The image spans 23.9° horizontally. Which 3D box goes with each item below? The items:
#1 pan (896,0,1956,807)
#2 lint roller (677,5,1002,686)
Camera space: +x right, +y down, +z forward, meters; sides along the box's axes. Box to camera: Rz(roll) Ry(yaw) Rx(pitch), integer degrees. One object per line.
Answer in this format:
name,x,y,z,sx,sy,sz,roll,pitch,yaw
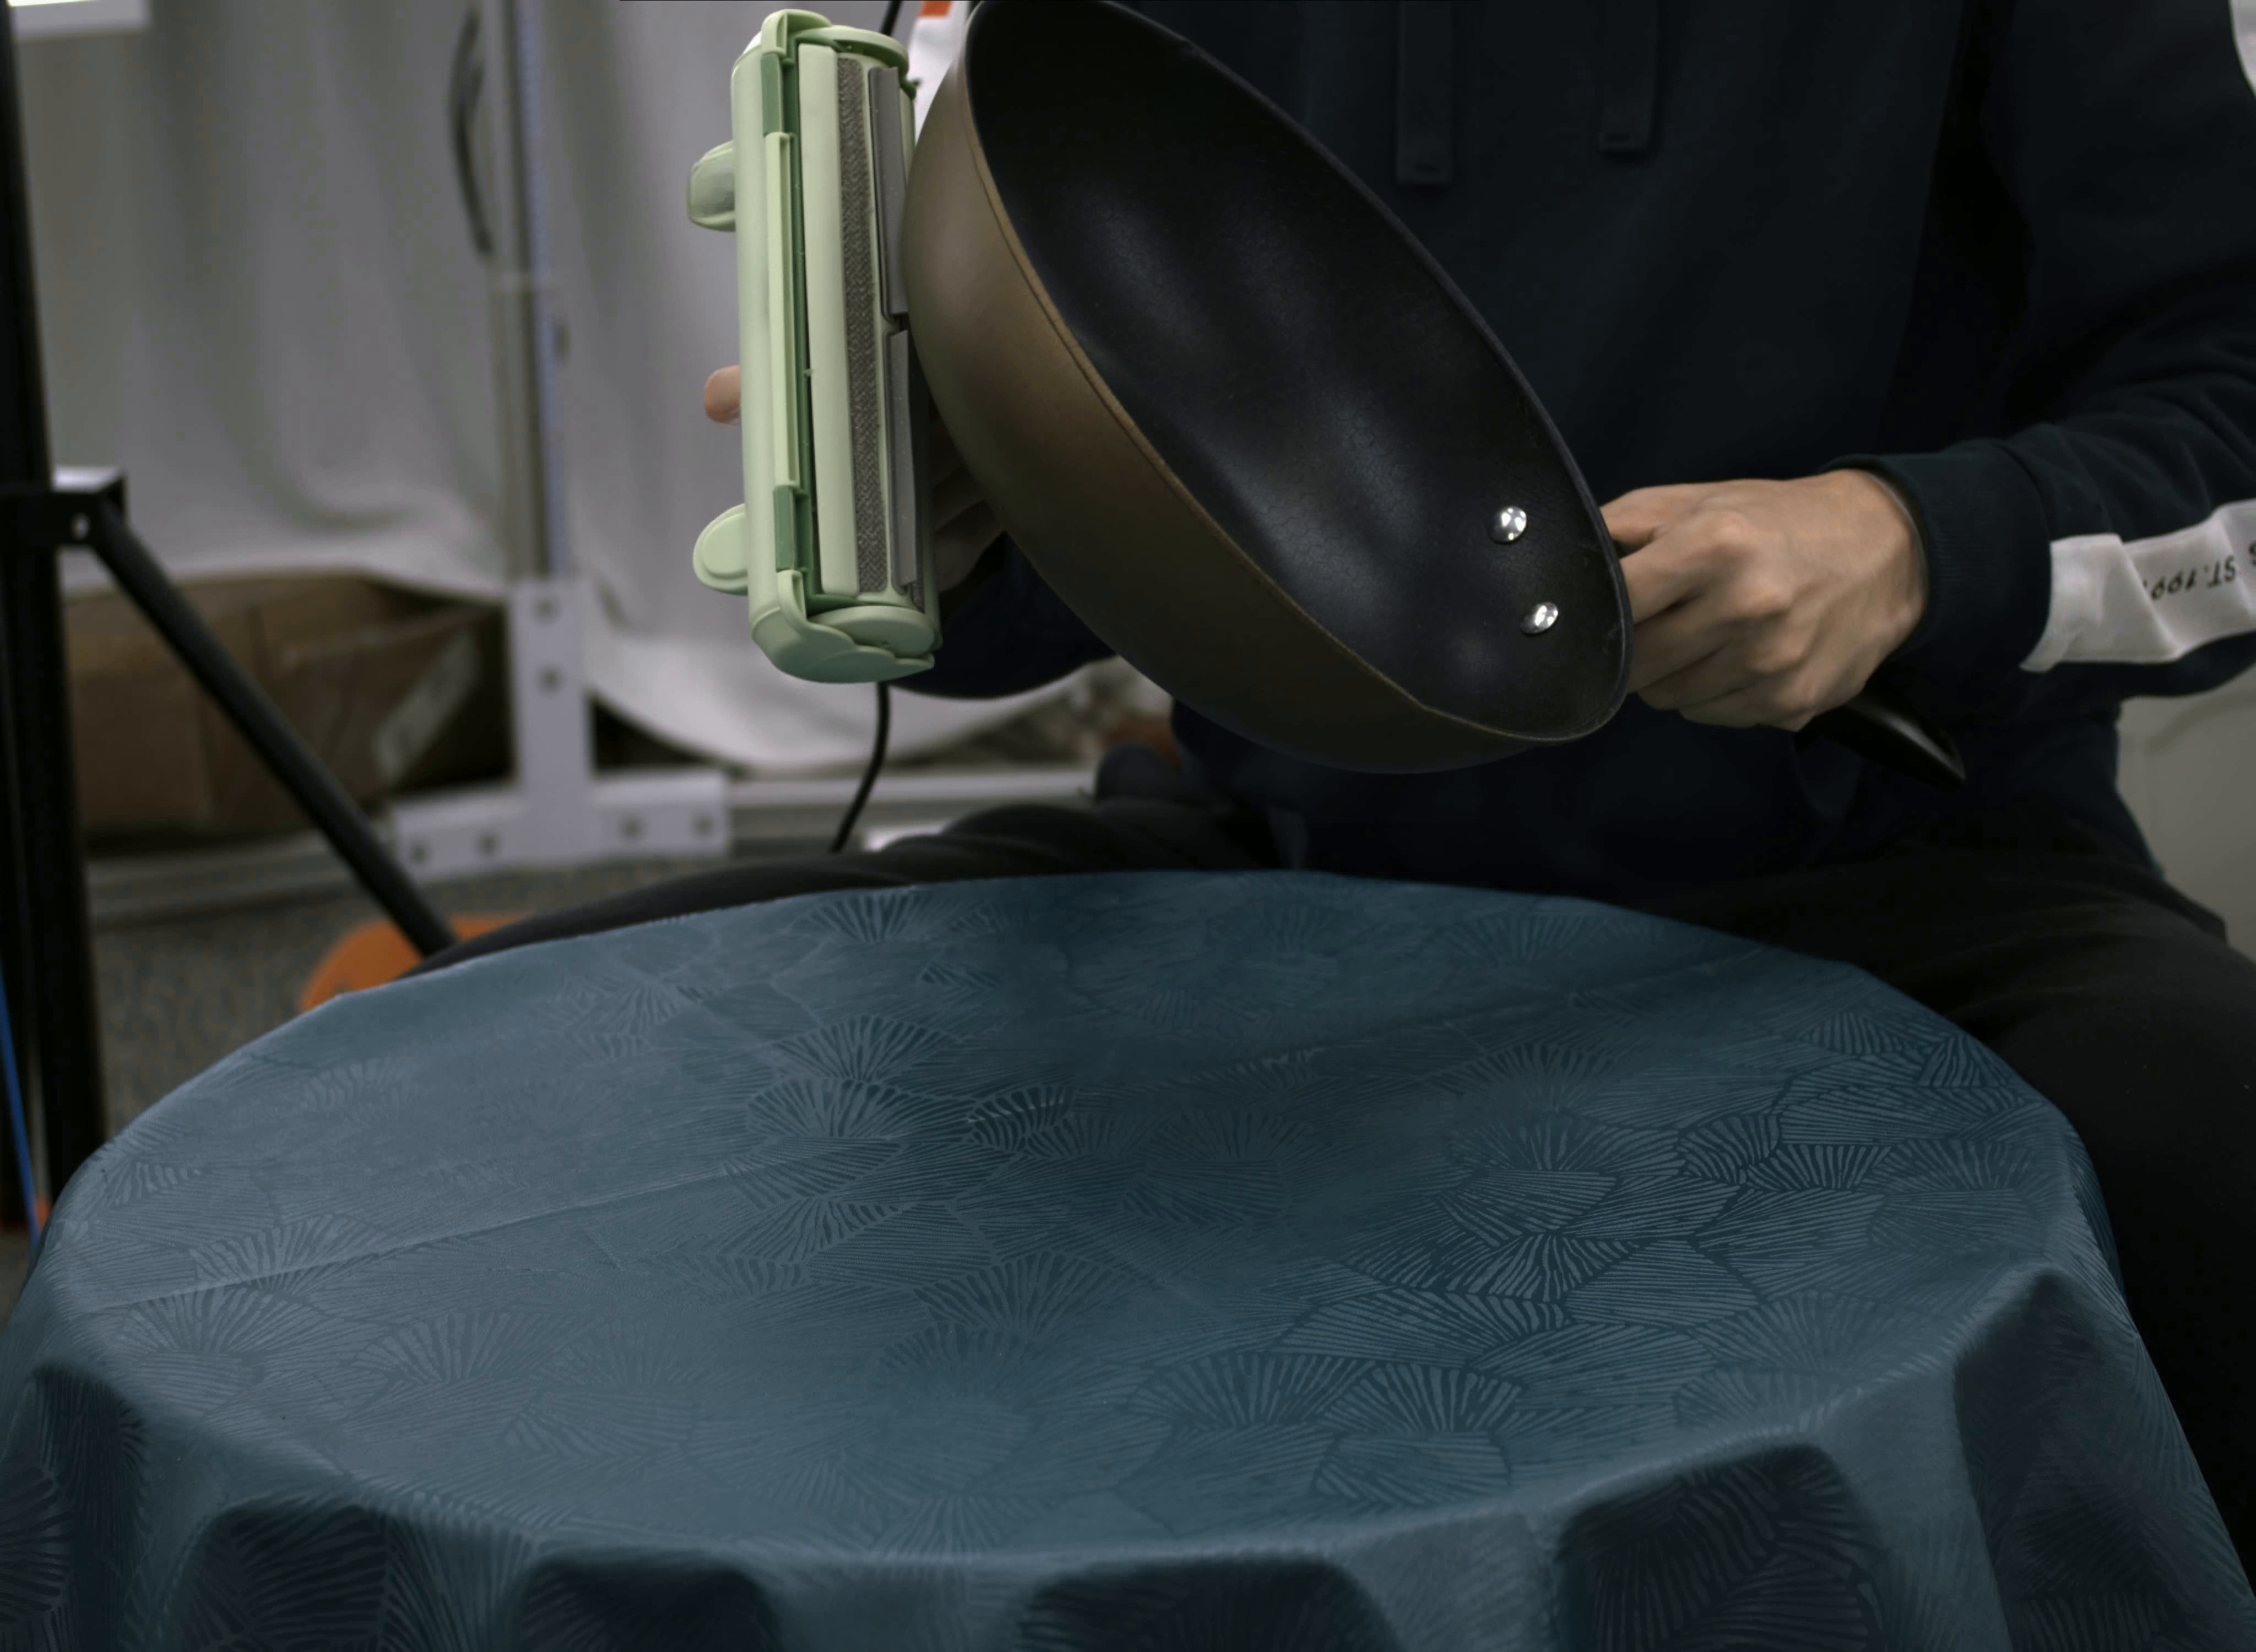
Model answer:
pan,0.087,-0.086,1.628,0.451,0.088,0.293,28,34,-38
lint roller,-0.086,-0.124,1.624,0.082,0.200,0.181,-5,-18,5
